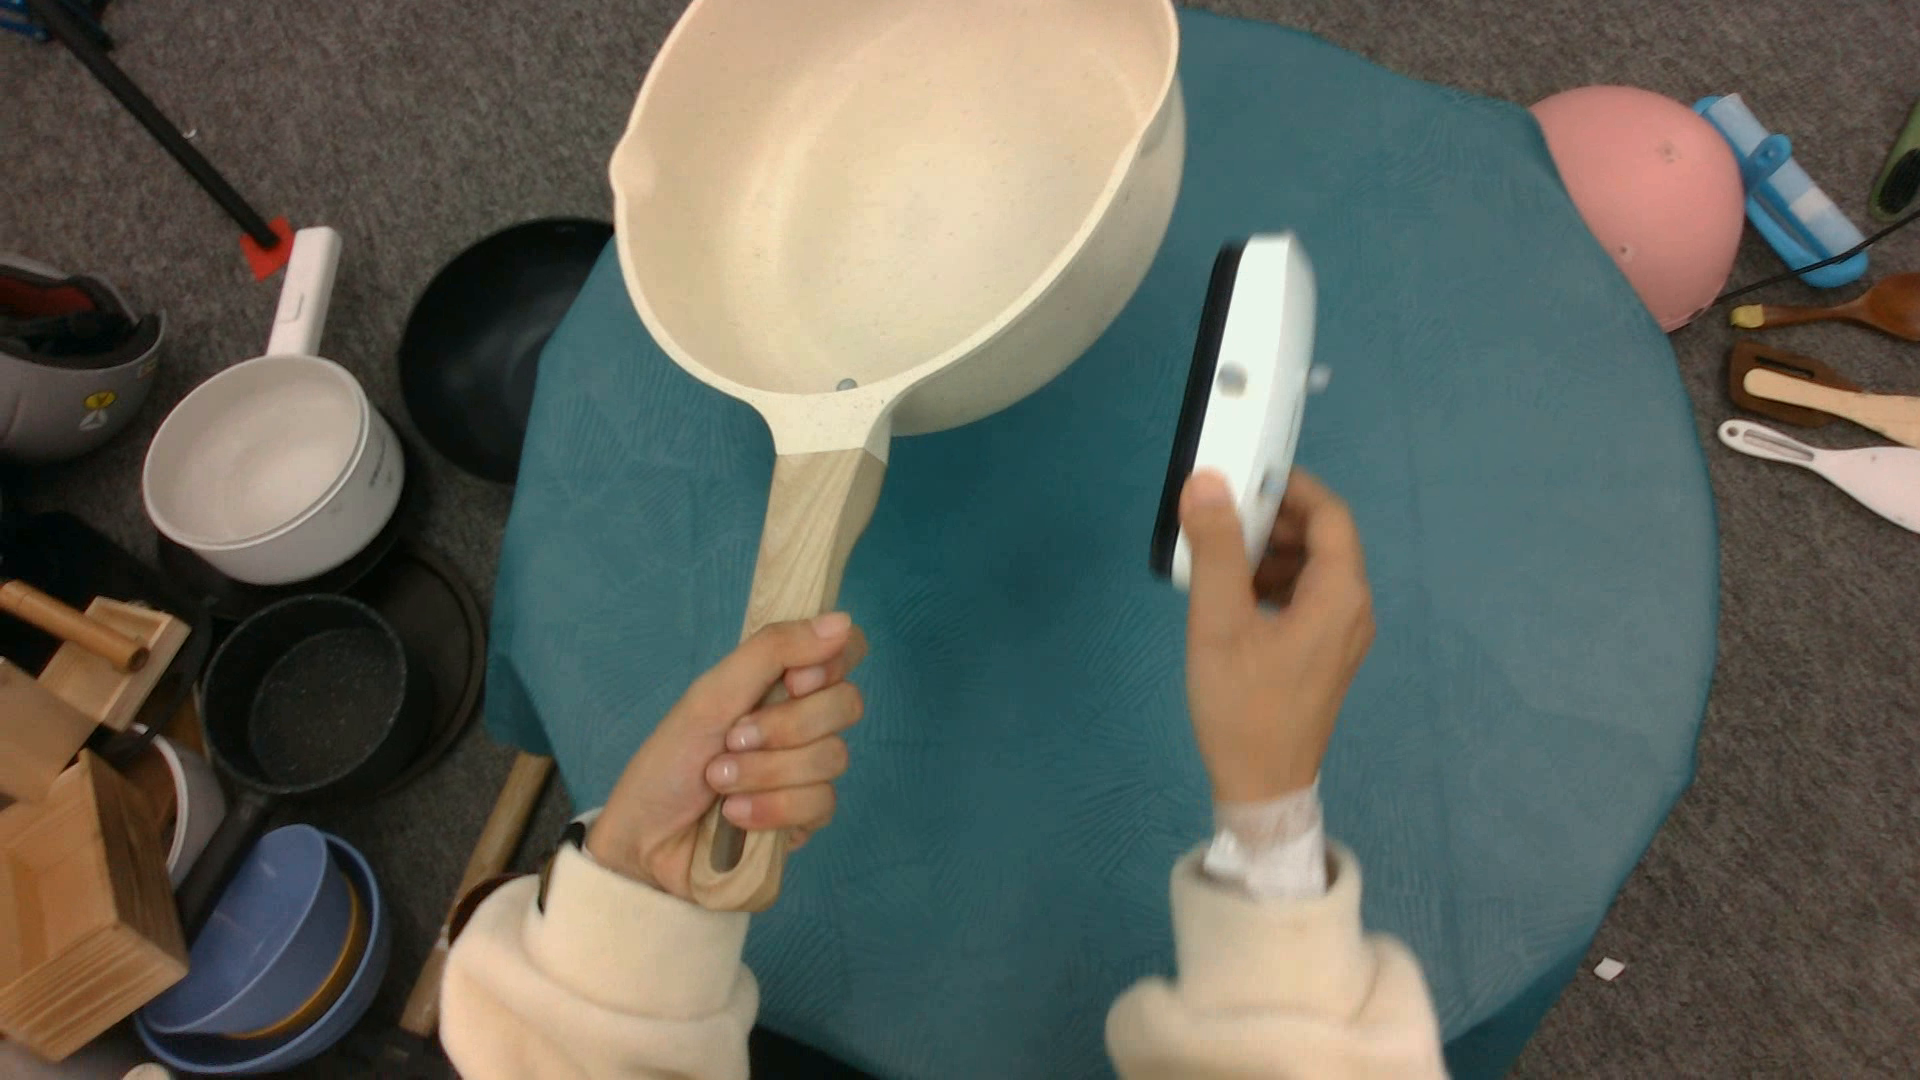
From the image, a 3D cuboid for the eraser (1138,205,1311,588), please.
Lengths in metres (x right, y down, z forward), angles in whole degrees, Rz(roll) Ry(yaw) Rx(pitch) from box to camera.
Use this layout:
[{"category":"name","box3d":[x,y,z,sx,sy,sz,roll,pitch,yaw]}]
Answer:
[{"category":"eraser","box3d":[0.097,-0.050,0.484,0.034,0.063,0.131,11,88,27]}]

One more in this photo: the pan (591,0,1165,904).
[{"category":"pan","box3d":[-0.040,-0.076,0.552,0.263,0.102,0.436,-3,71,27]}]
